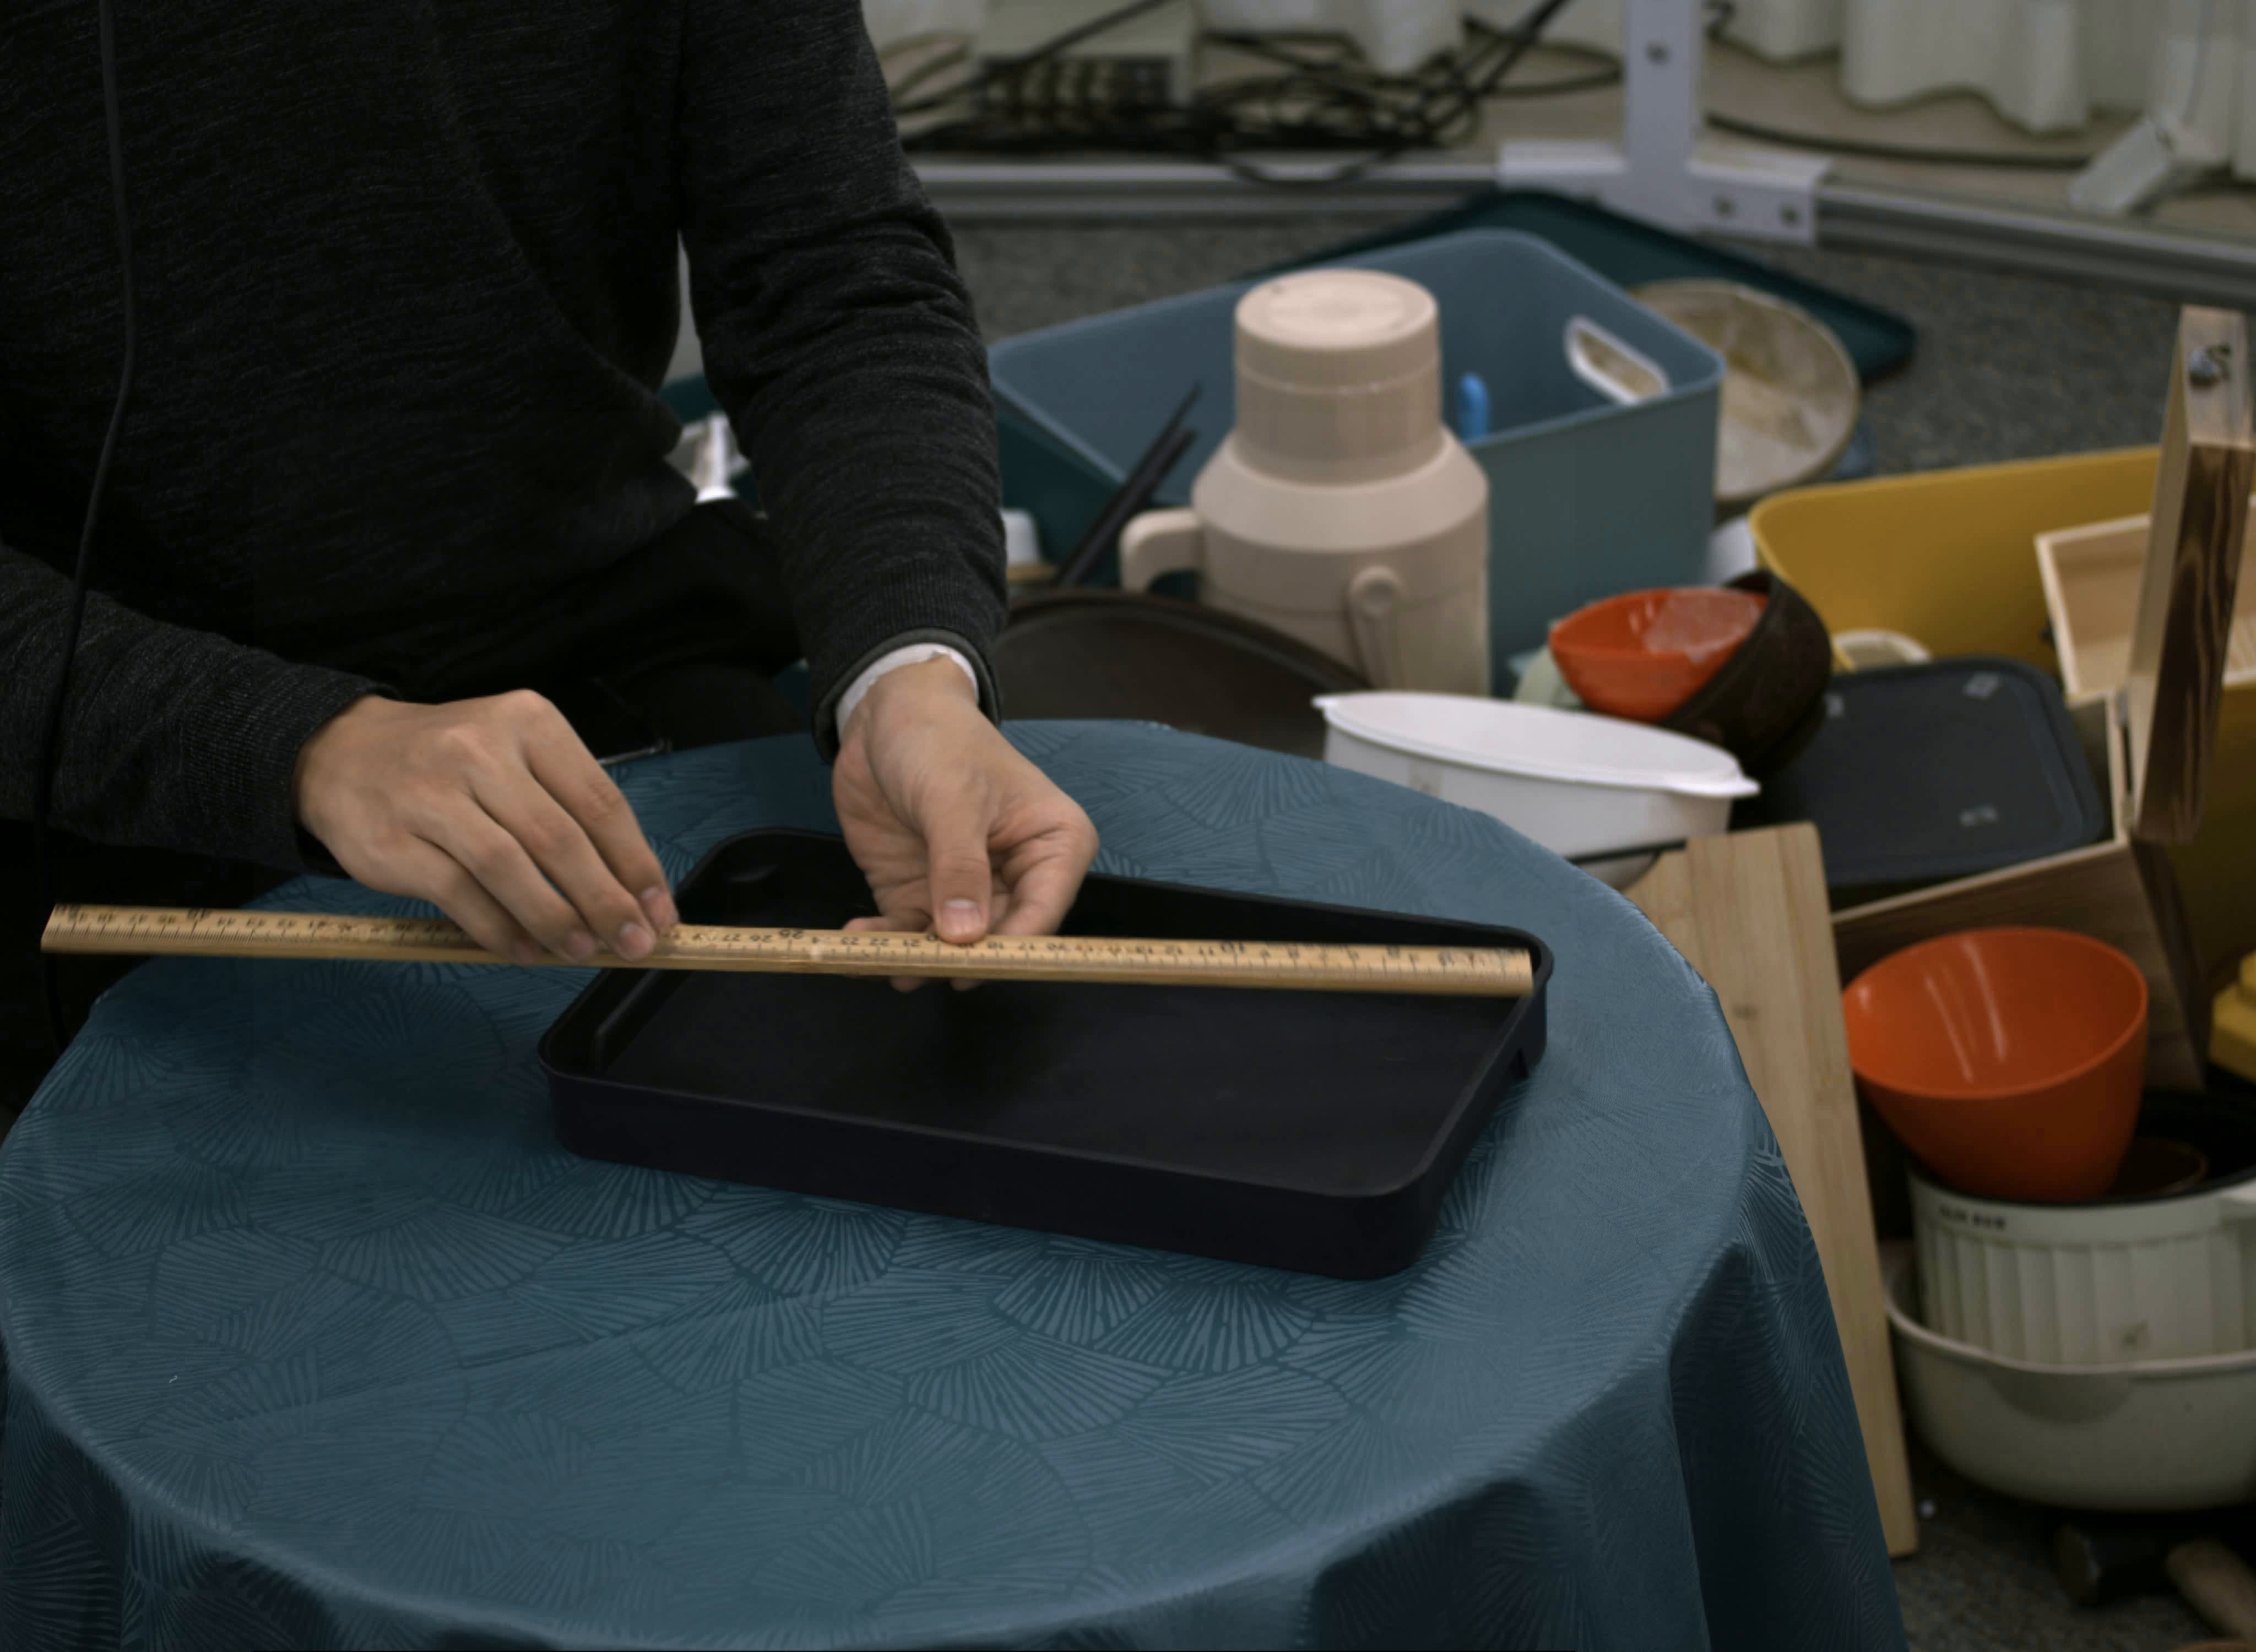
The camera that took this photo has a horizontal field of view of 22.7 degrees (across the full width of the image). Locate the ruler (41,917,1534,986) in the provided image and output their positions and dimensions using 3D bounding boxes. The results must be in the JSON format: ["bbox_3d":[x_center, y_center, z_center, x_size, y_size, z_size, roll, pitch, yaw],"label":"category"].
[{"bbox_3d":[-0.114,0.042,1.883,0.498,0.006,0.027,1,22,0],"label":"ruler"}]

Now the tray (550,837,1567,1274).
[{"bbox_3d":[-0.021,0.075,1.915,0.316,0.036,0.187,6,28,18],"label":"tray"}]
